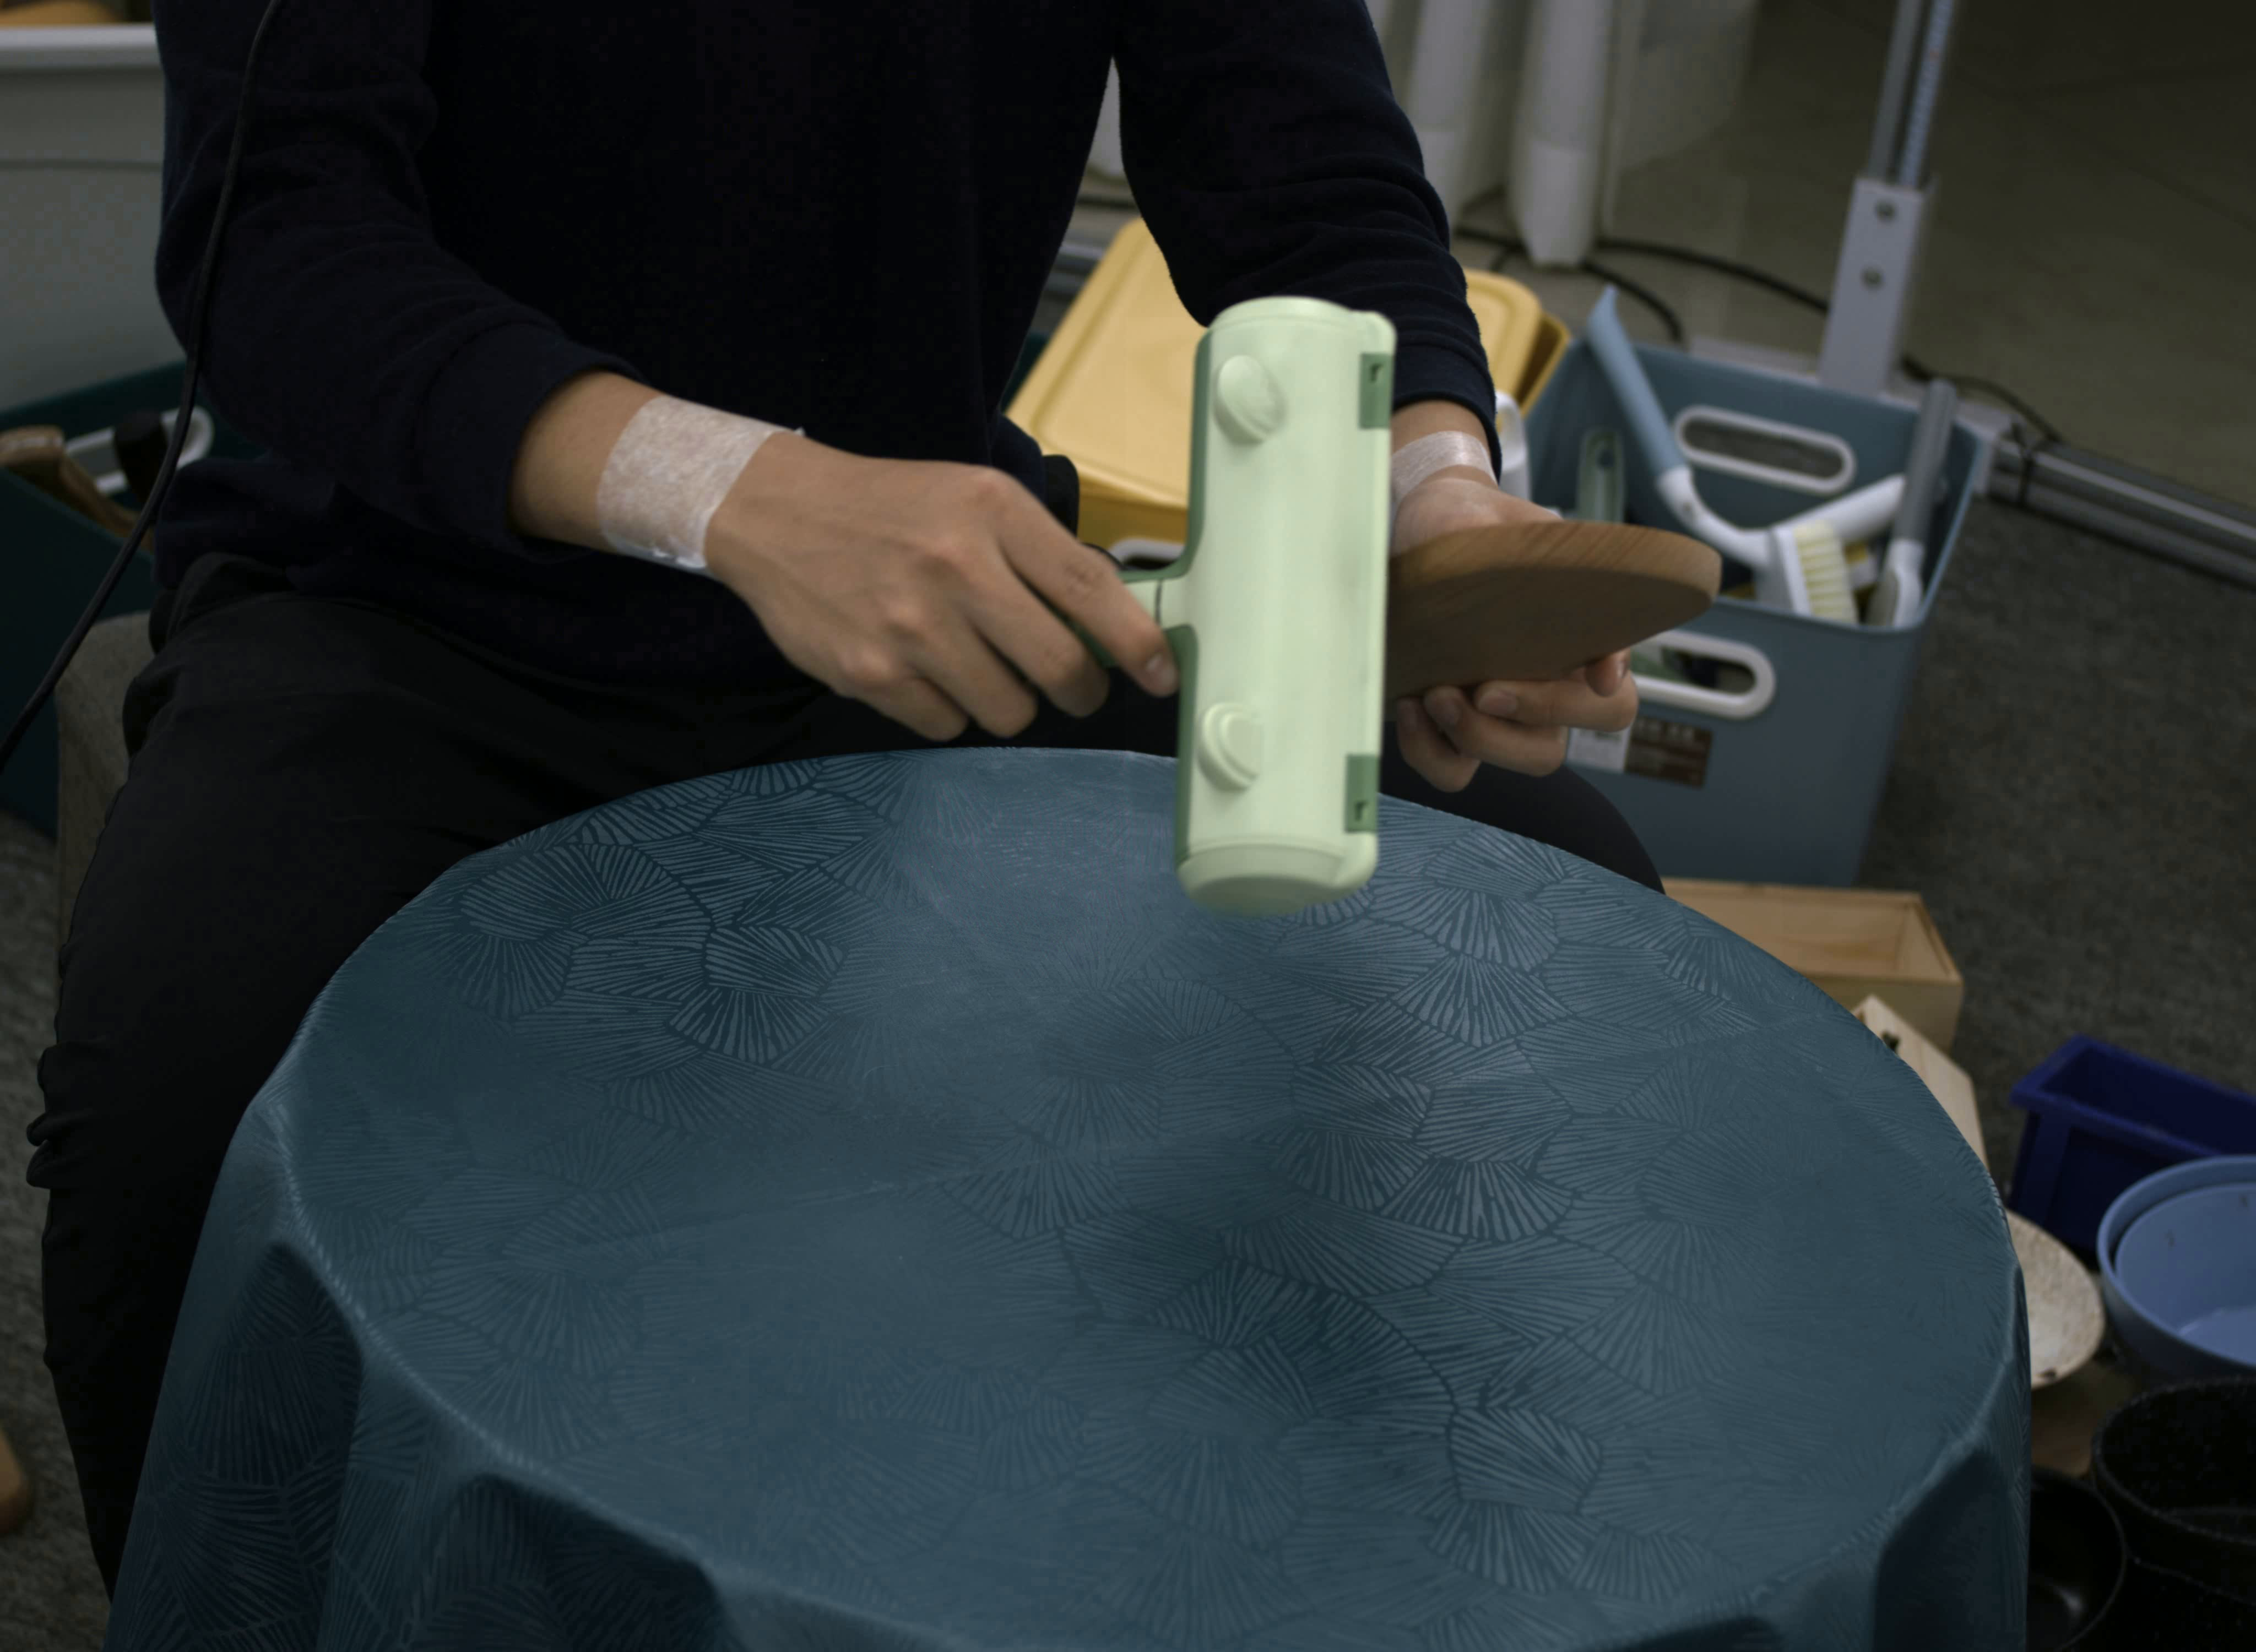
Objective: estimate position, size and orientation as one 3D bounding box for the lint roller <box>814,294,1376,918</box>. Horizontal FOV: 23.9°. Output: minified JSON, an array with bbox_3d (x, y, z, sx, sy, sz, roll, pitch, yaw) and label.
[{"bbox_3d":[-0.014,-0.072,1.678,0.183,0.082,0.200,-1,70,8],"label":"lint roller"}]

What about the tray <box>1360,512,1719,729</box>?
[{"bbox_3d":[0.109,-0.065,1.745,0.101,0.020,0.231,9,-17,-23],"label":"tray"}]
